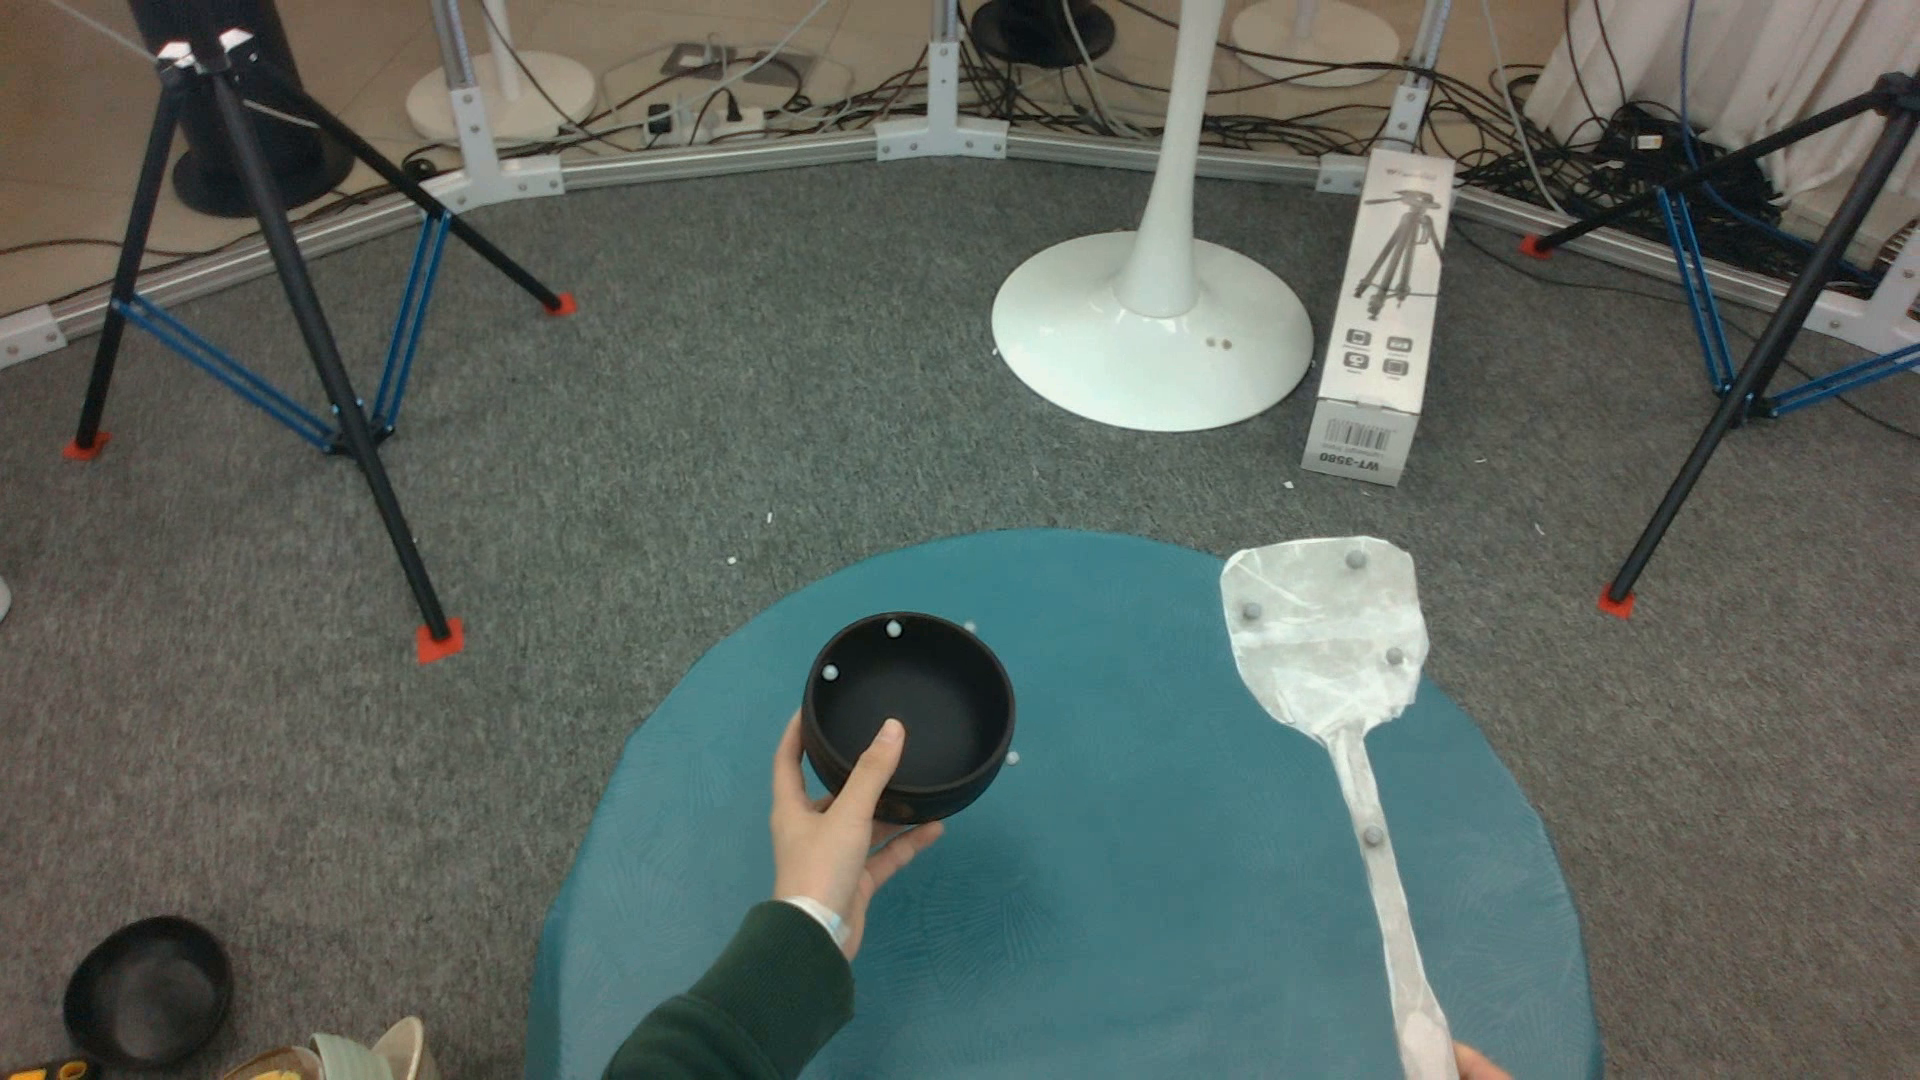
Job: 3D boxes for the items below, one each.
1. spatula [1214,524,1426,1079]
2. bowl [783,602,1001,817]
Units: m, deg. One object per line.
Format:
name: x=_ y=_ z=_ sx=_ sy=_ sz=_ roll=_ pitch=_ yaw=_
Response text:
spatula: x=0.181 y=0.146 z=0.618 sx=0.098 sy=0.044 sz=0.366 roll=-2 pitch=50 yaw=2
bowl: x=-0.040 y=0.100 z=0.764 sx=0.118 sy=0.069 sz=0.118 roll=5 pitch=52 yaw=-7
